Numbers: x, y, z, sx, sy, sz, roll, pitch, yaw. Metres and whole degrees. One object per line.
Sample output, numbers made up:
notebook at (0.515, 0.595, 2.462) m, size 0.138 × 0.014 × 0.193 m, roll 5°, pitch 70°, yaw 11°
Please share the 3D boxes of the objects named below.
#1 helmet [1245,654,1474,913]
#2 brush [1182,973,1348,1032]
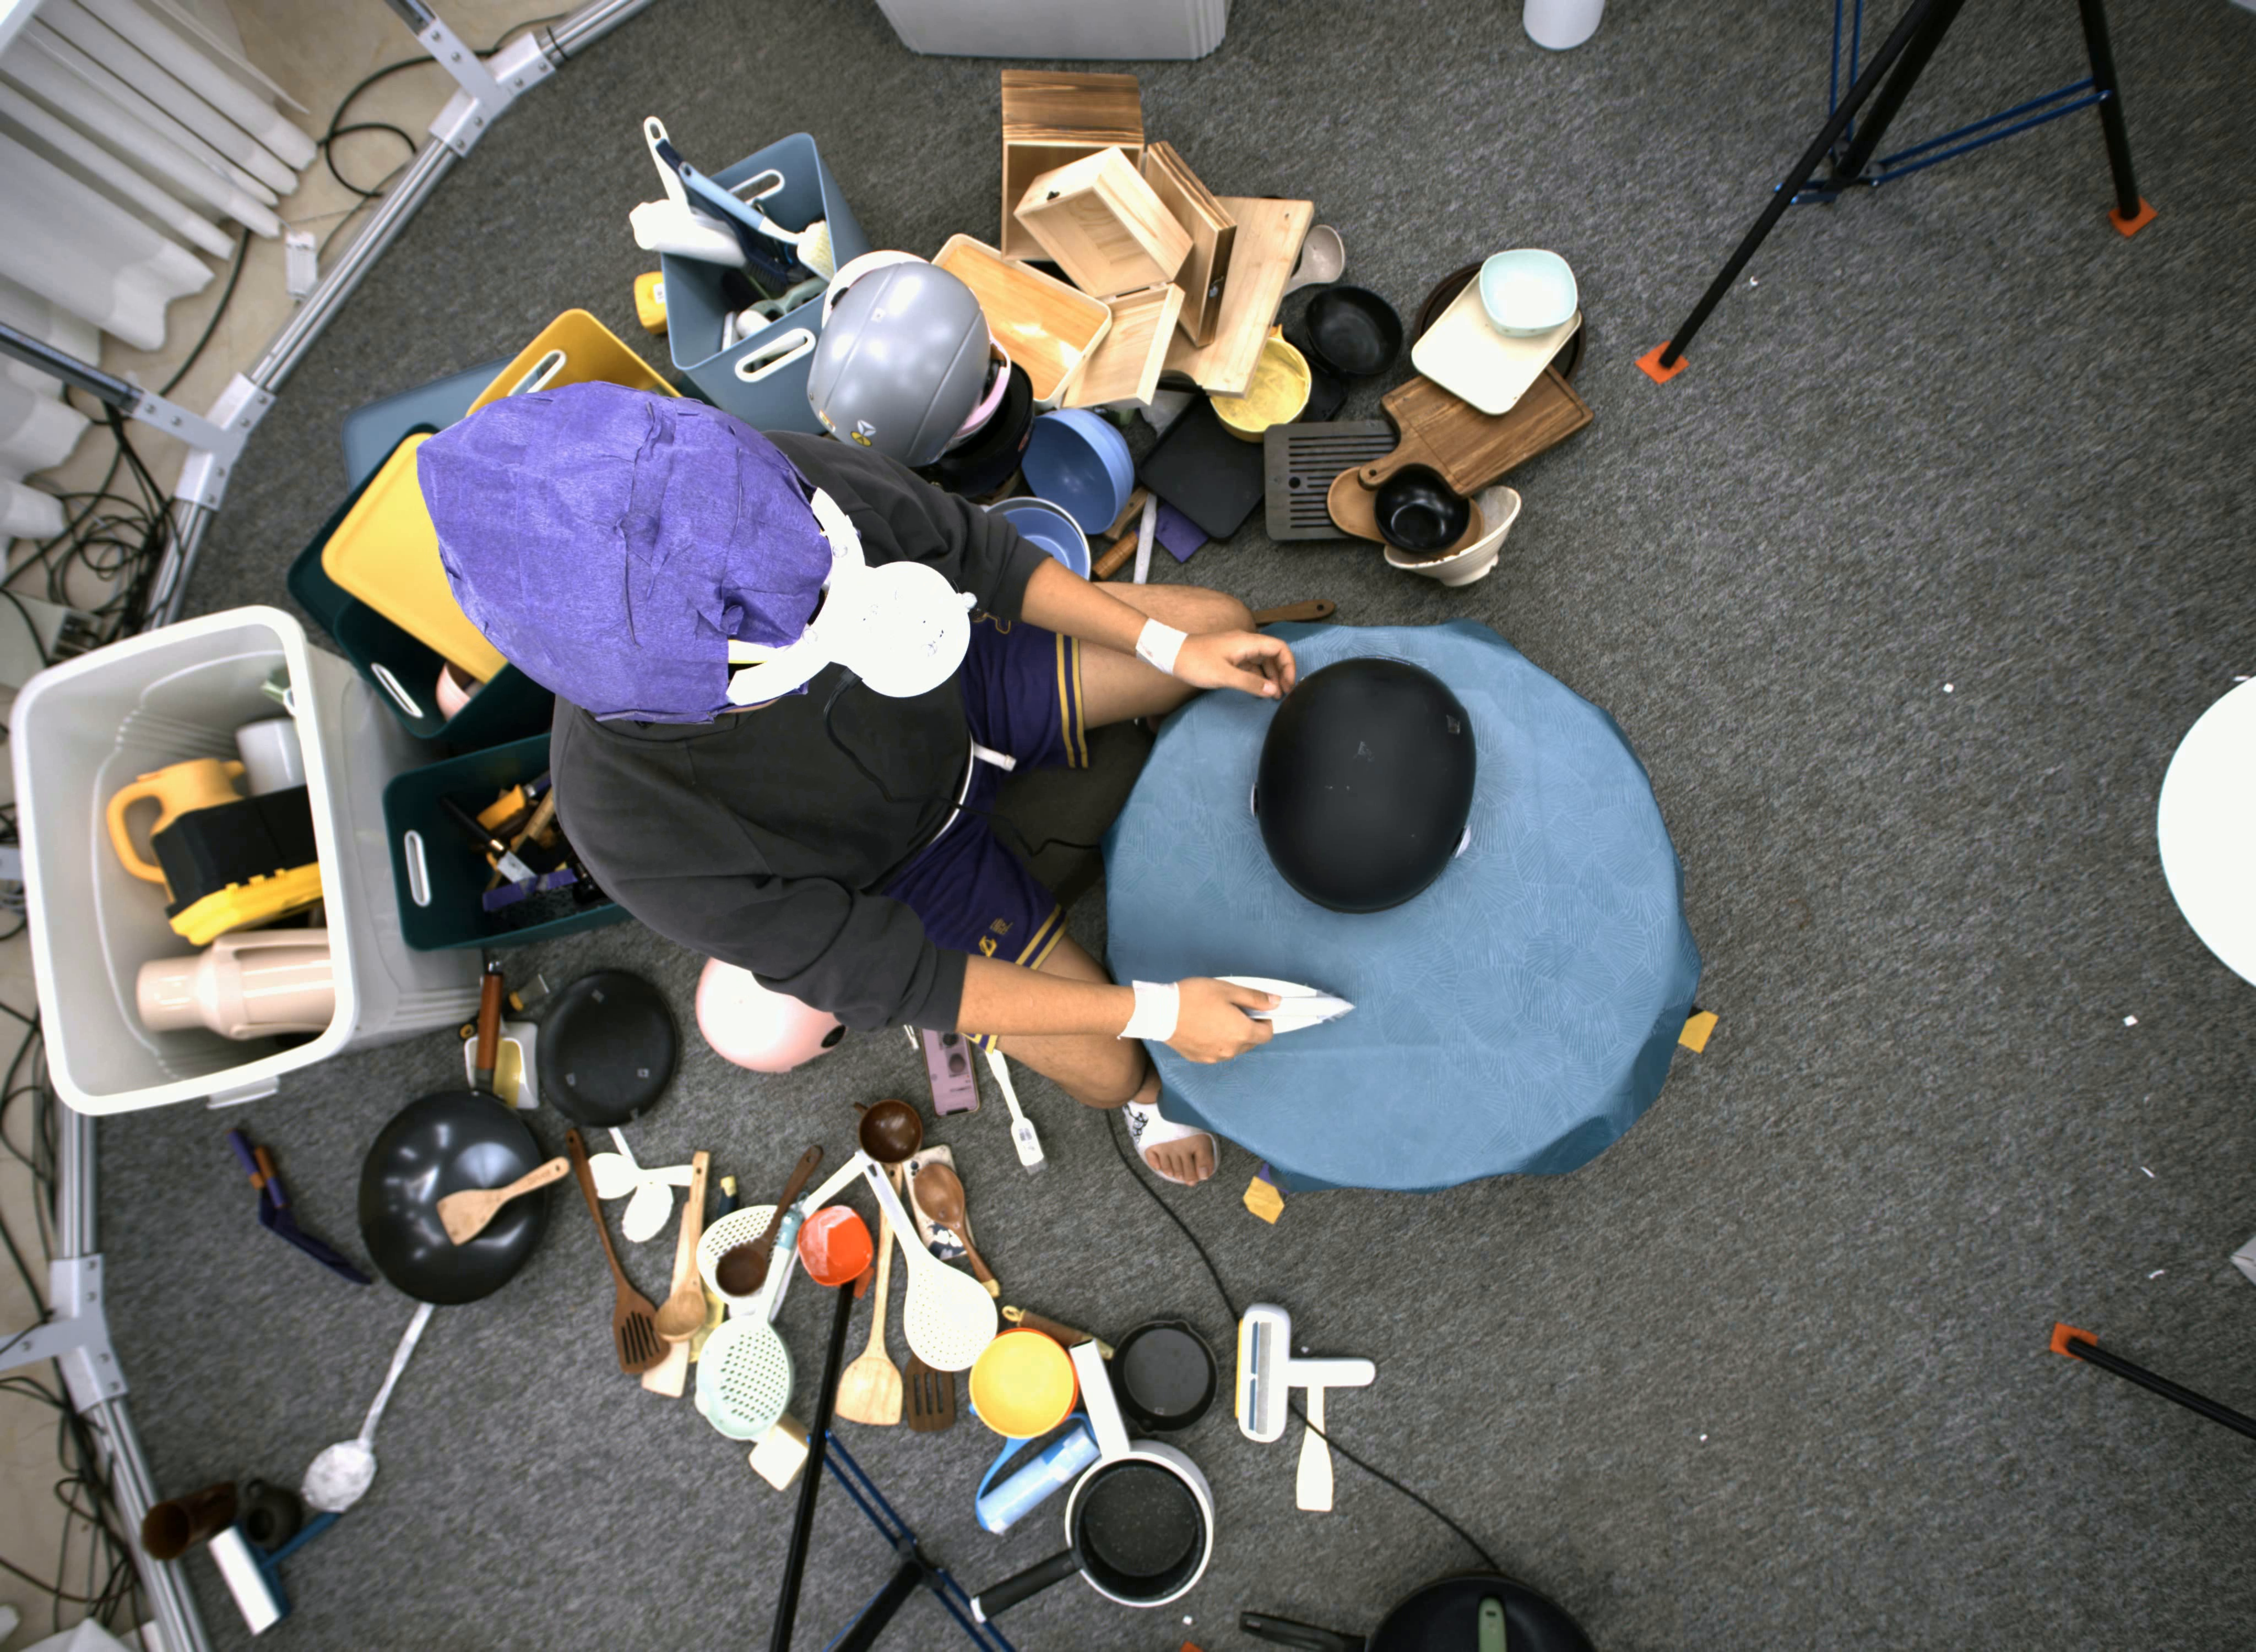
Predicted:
helmet at (0.236, -0.049, 1.392) m, size 0.230 × 0.166 × 0.273 m, roll 14°, pitch 91°, yaw 11°
brush at (0.140, 0.182, 1.430) m, size 0.176 × 0.094 × 0.061 m, roll 1°, pitch 84°, yaw 7°
